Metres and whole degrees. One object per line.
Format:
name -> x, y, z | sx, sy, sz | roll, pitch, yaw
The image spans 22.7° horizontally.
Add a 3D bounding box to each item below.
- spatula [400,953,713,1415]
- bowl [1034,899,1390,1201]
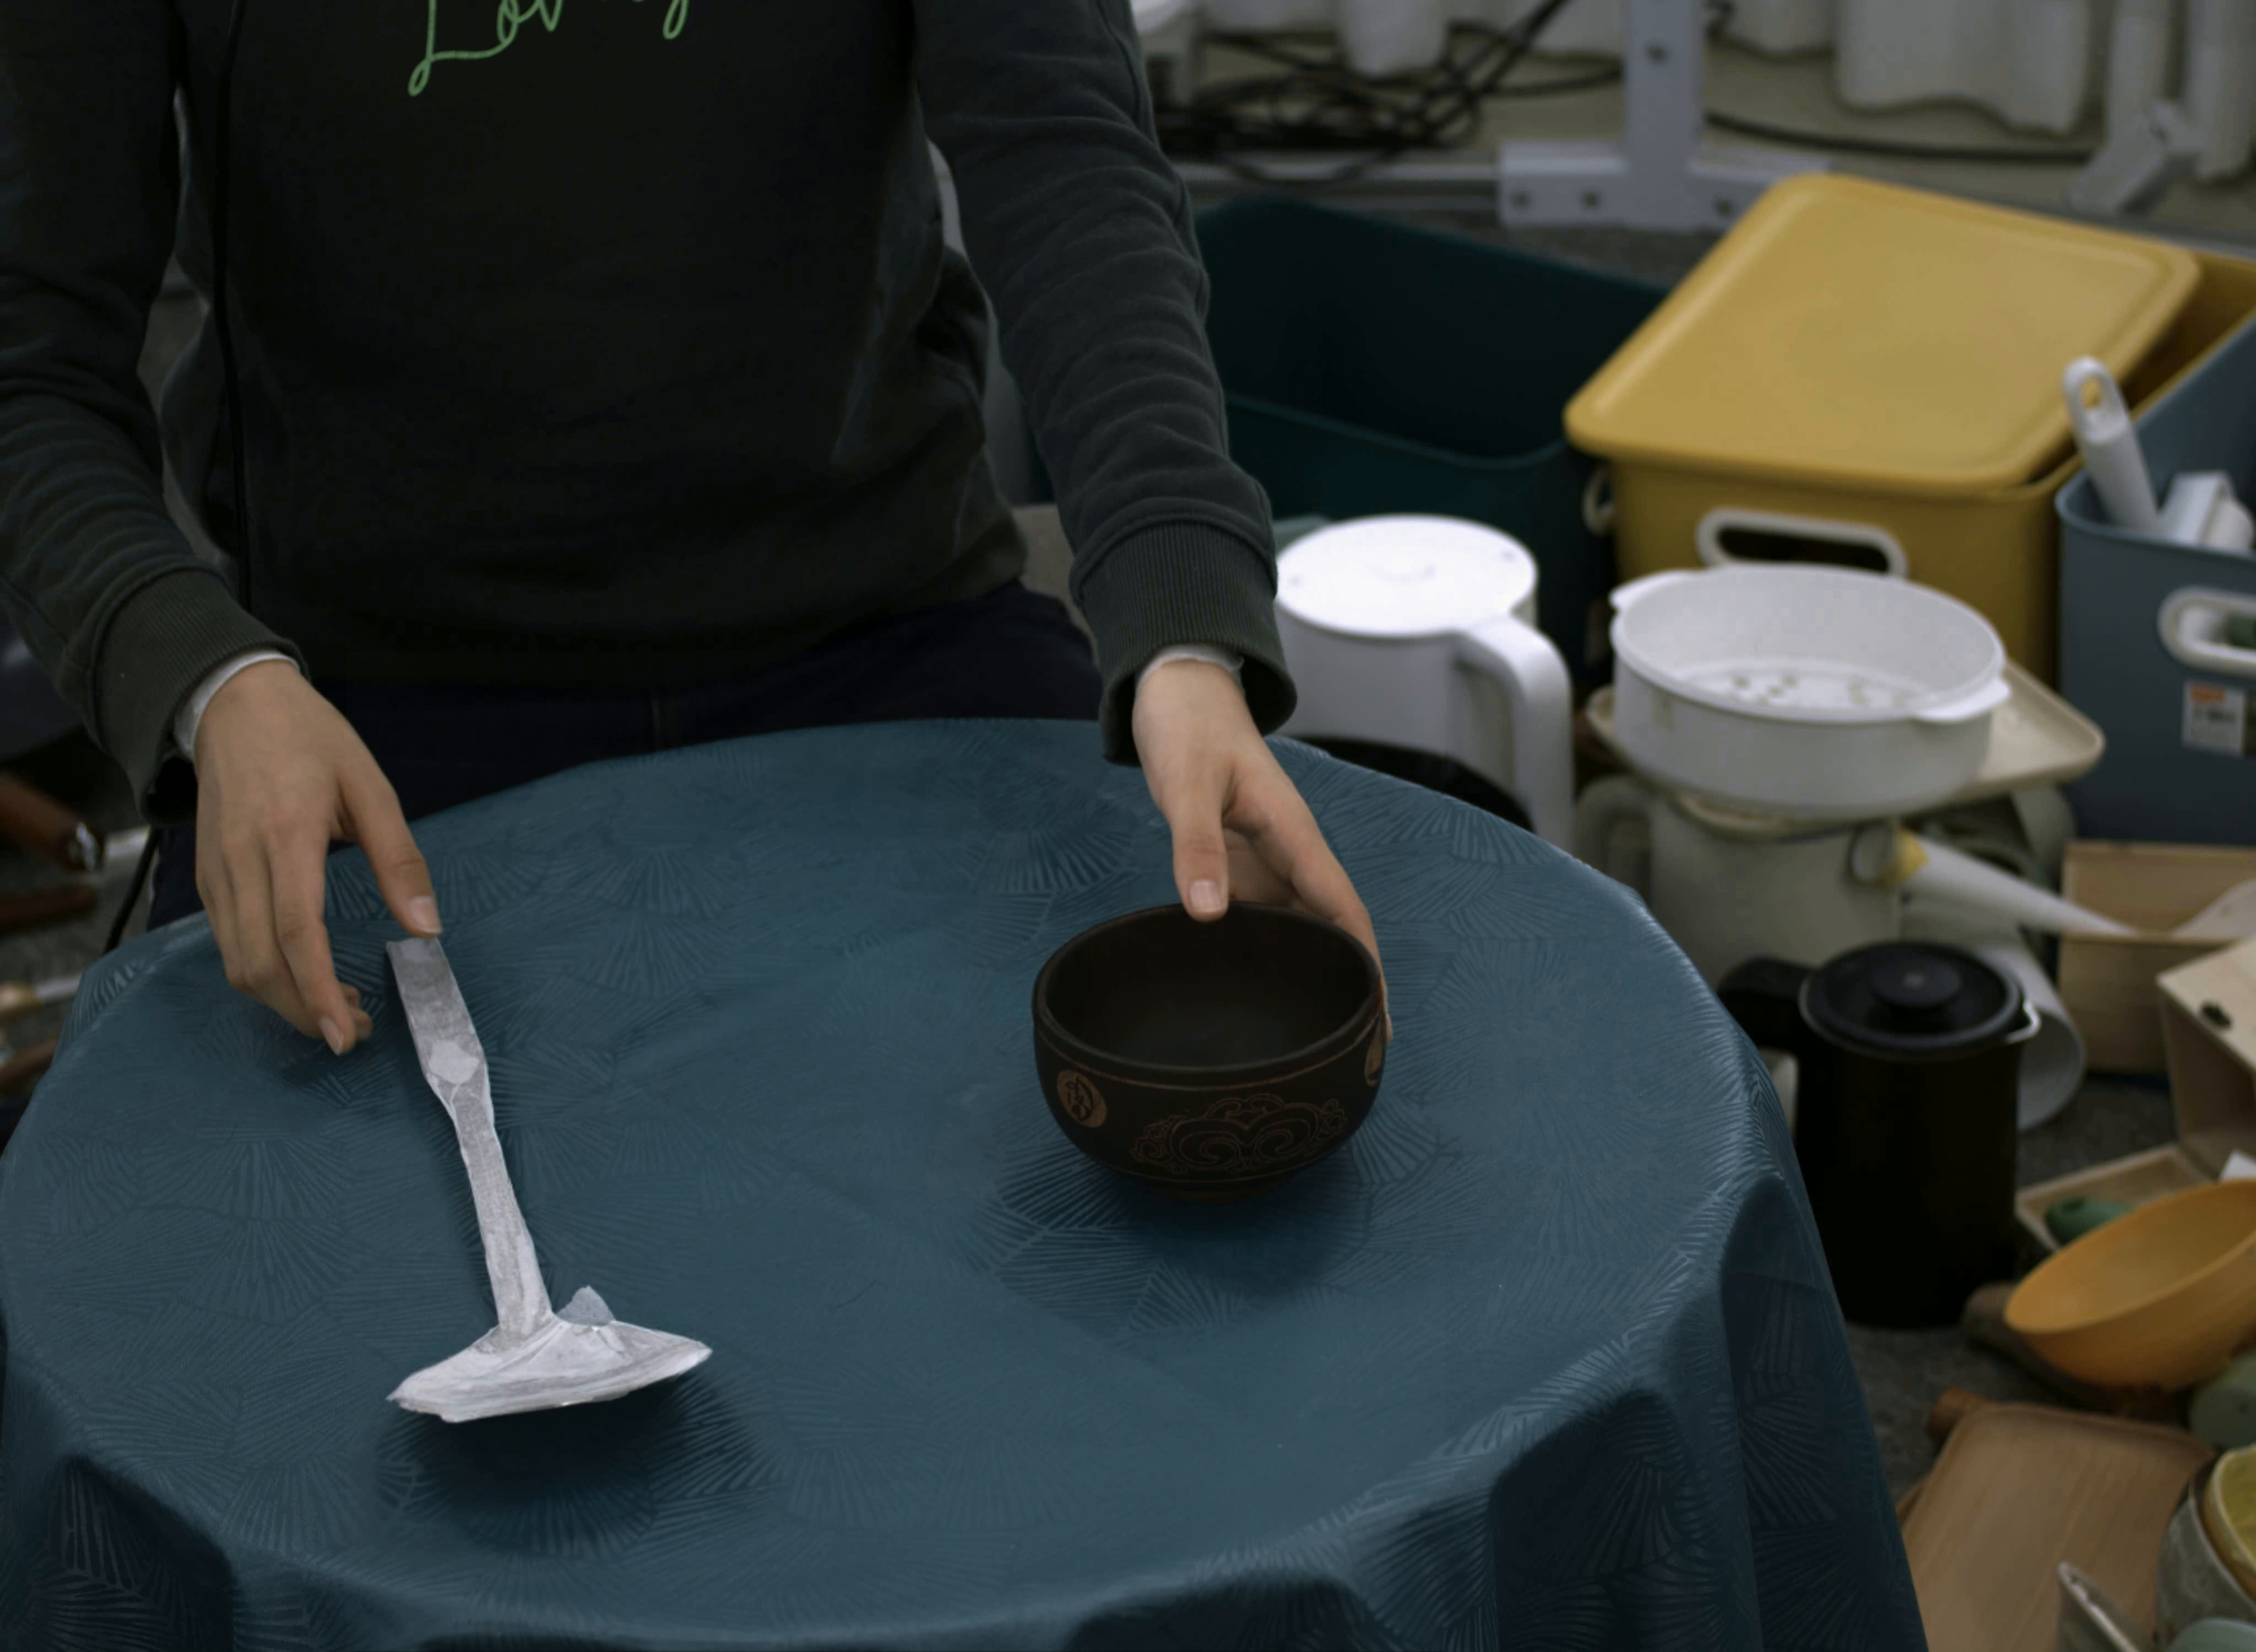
spatula -> -0.209, 0.111, 1.862 | 0.098, 0.044, 0.369 | -10, 28, -9
bowl -> 0.028, 0.080, 1.861 | 0.117, 0.069, 0.120 | -1, 25, 1
